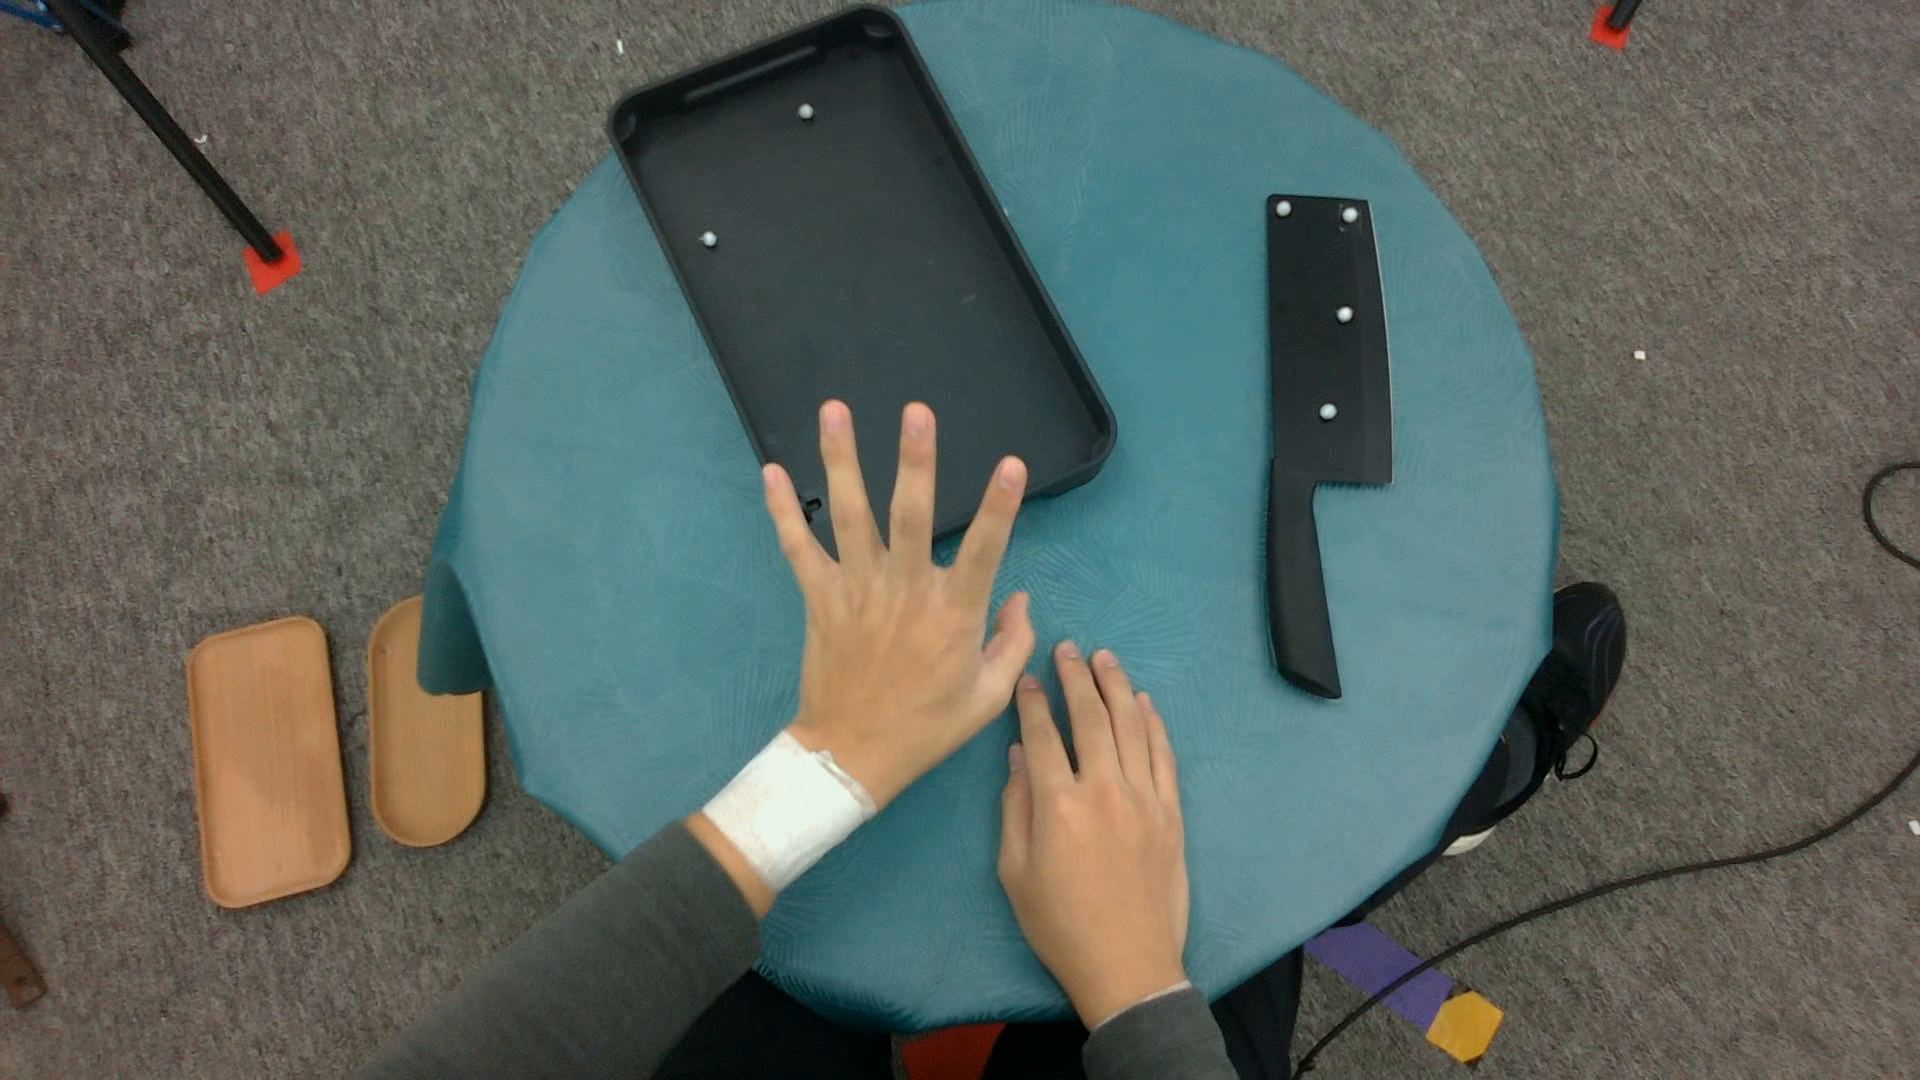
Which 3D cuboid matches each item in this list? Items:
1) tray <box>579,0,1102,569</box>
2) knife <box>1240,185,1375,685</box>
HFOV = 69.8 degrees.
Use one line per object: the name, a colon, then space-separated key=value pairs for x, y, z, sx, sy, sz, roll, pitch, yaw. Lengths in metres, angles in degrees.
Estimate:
tray: x=-0.071 y=-0.153 z=0.773 sx=0.184 sy=0.037 sz=0.318 roll=-26 pitch=74 yaw=-9
knife: x=0.191 y=-0.069 z=0.762 sx=0.081 sy=0.021 sz=0.303 roll=7 pitch=70 yaw=0
